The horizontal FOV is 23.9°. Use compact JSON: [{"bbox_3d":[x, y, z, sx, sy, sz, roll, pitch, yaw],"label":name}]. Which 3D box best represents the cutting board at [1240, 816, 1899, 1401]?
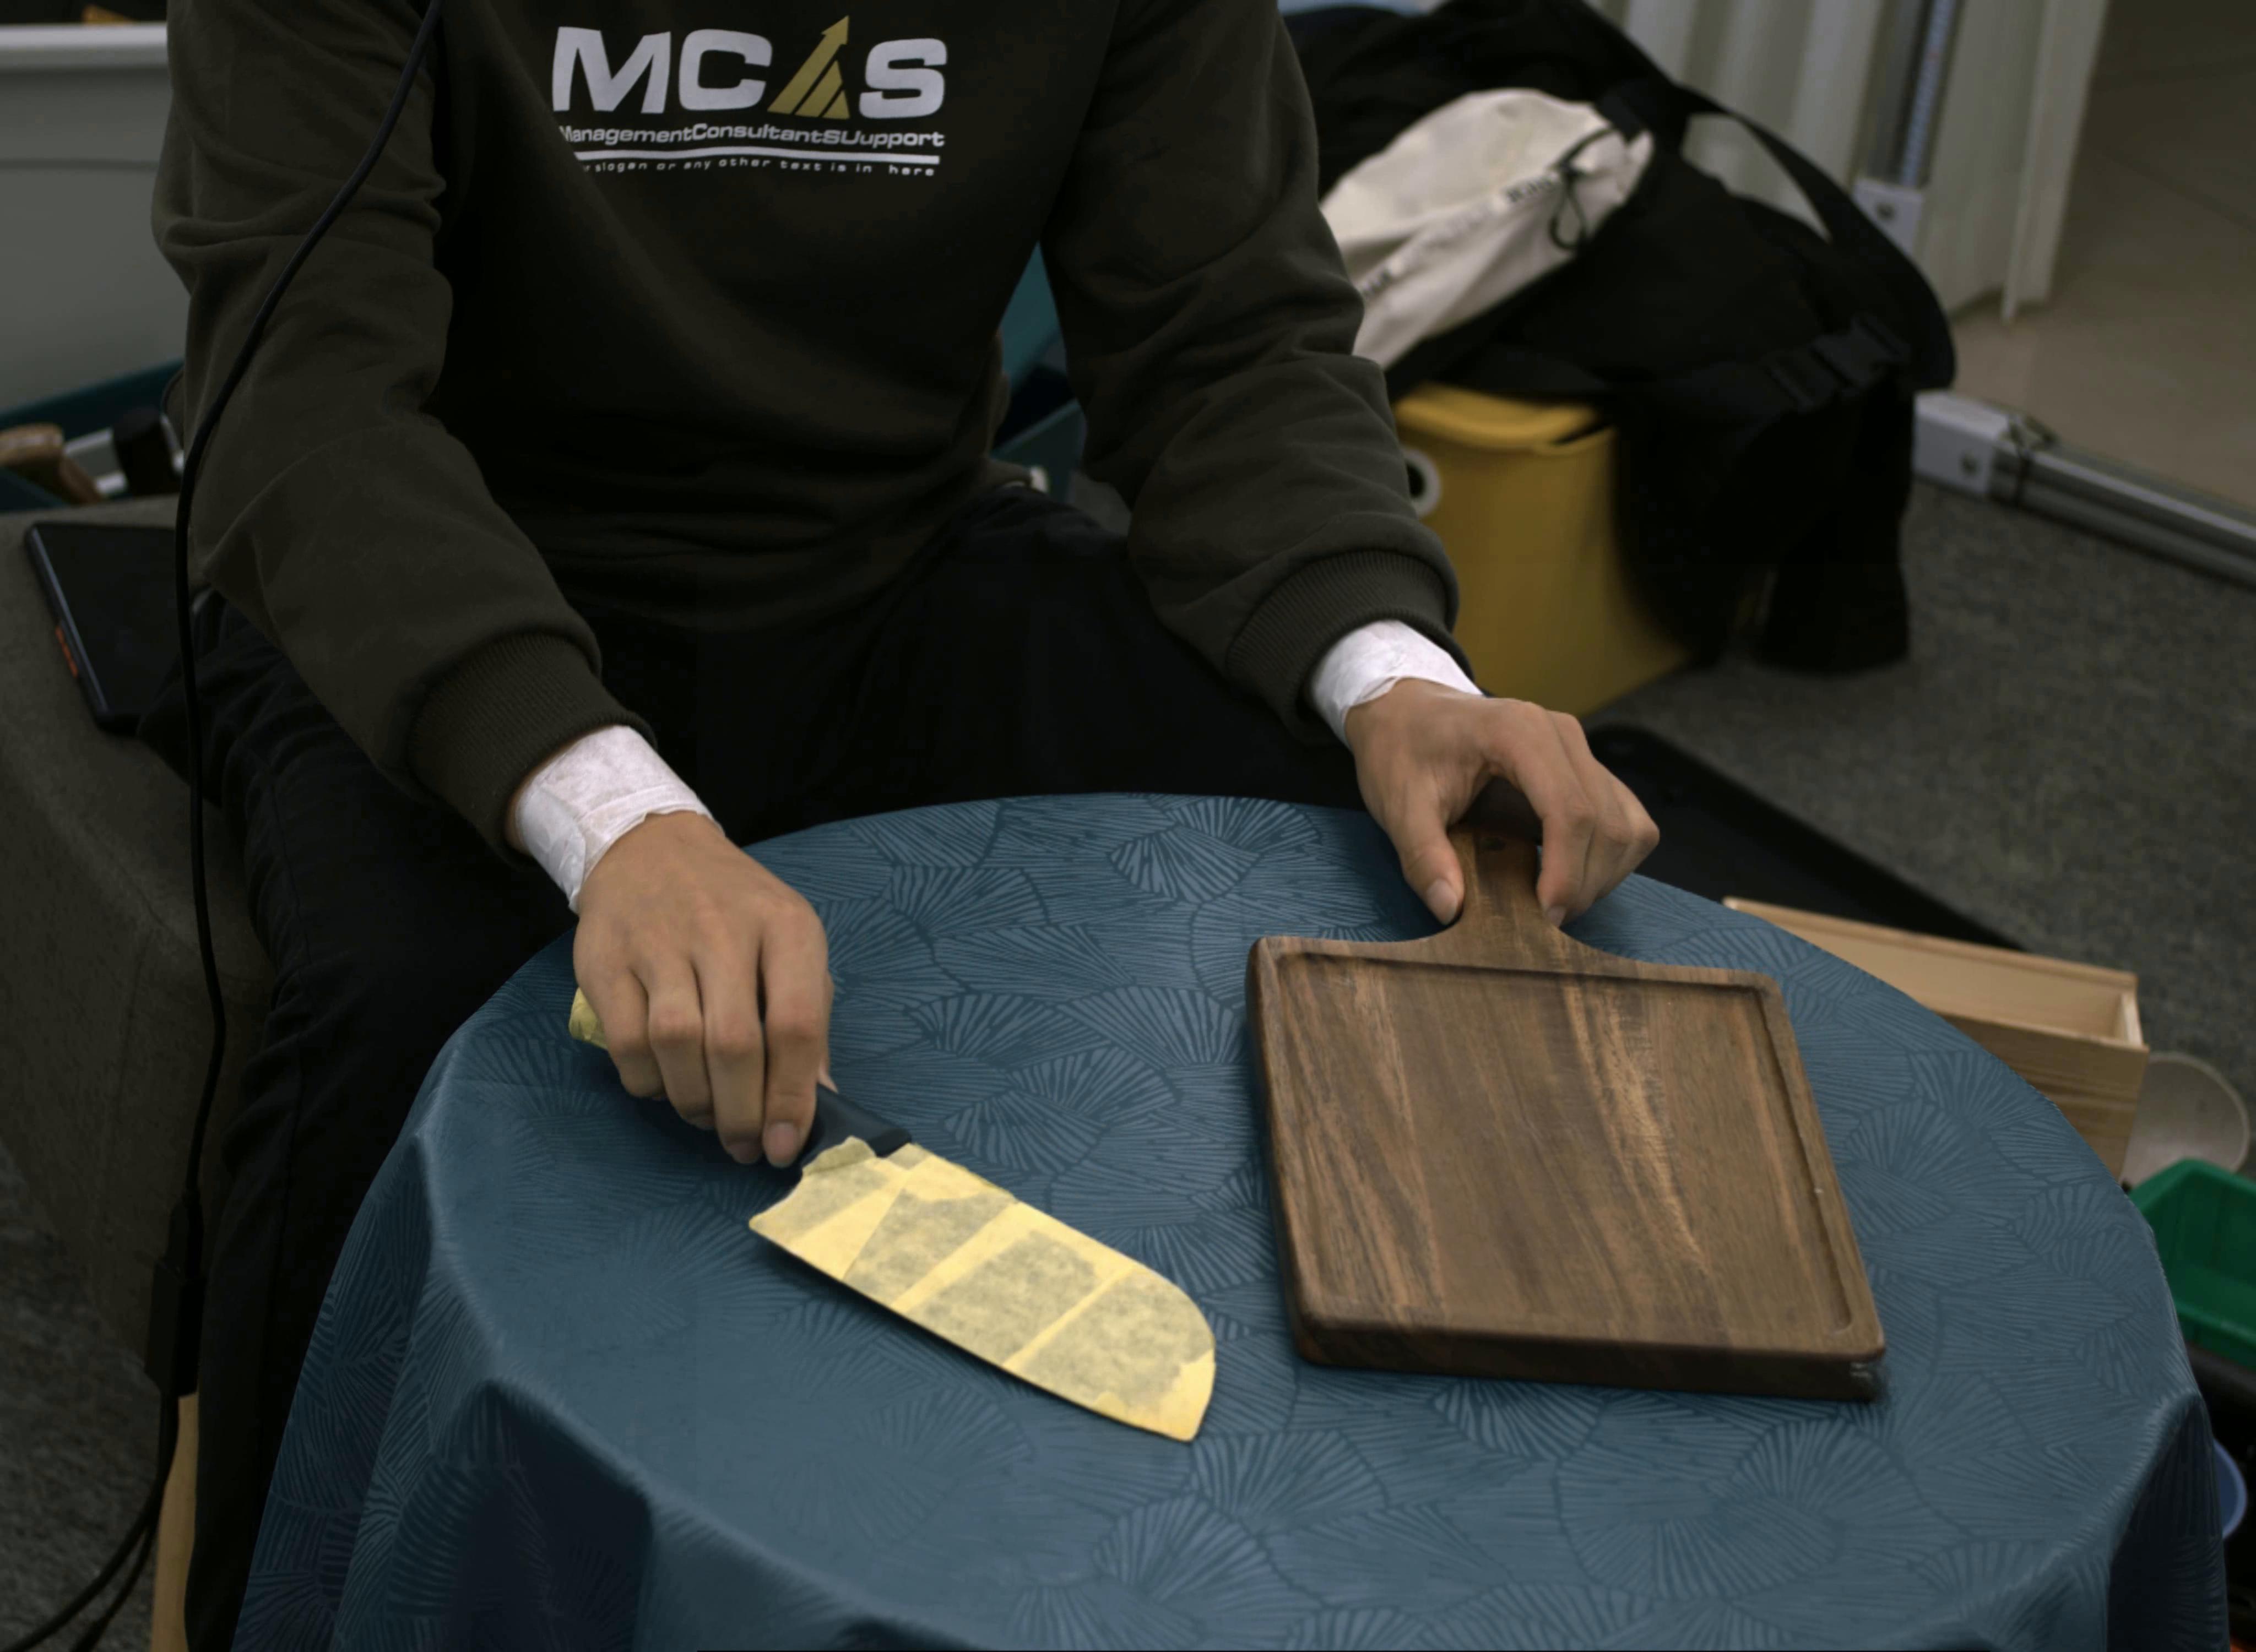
[{"bbox_3d":[0.143,0.089,1.871,0.200,0.023,0.354,4,28,-5],"label":"cutting board"}]

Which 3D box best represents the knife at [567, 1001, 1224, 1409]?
[{"bbox_3d":[-0.085,0.126,1.755,0.291,0.027,0.081,26,37,31],"label":"knife"}]
